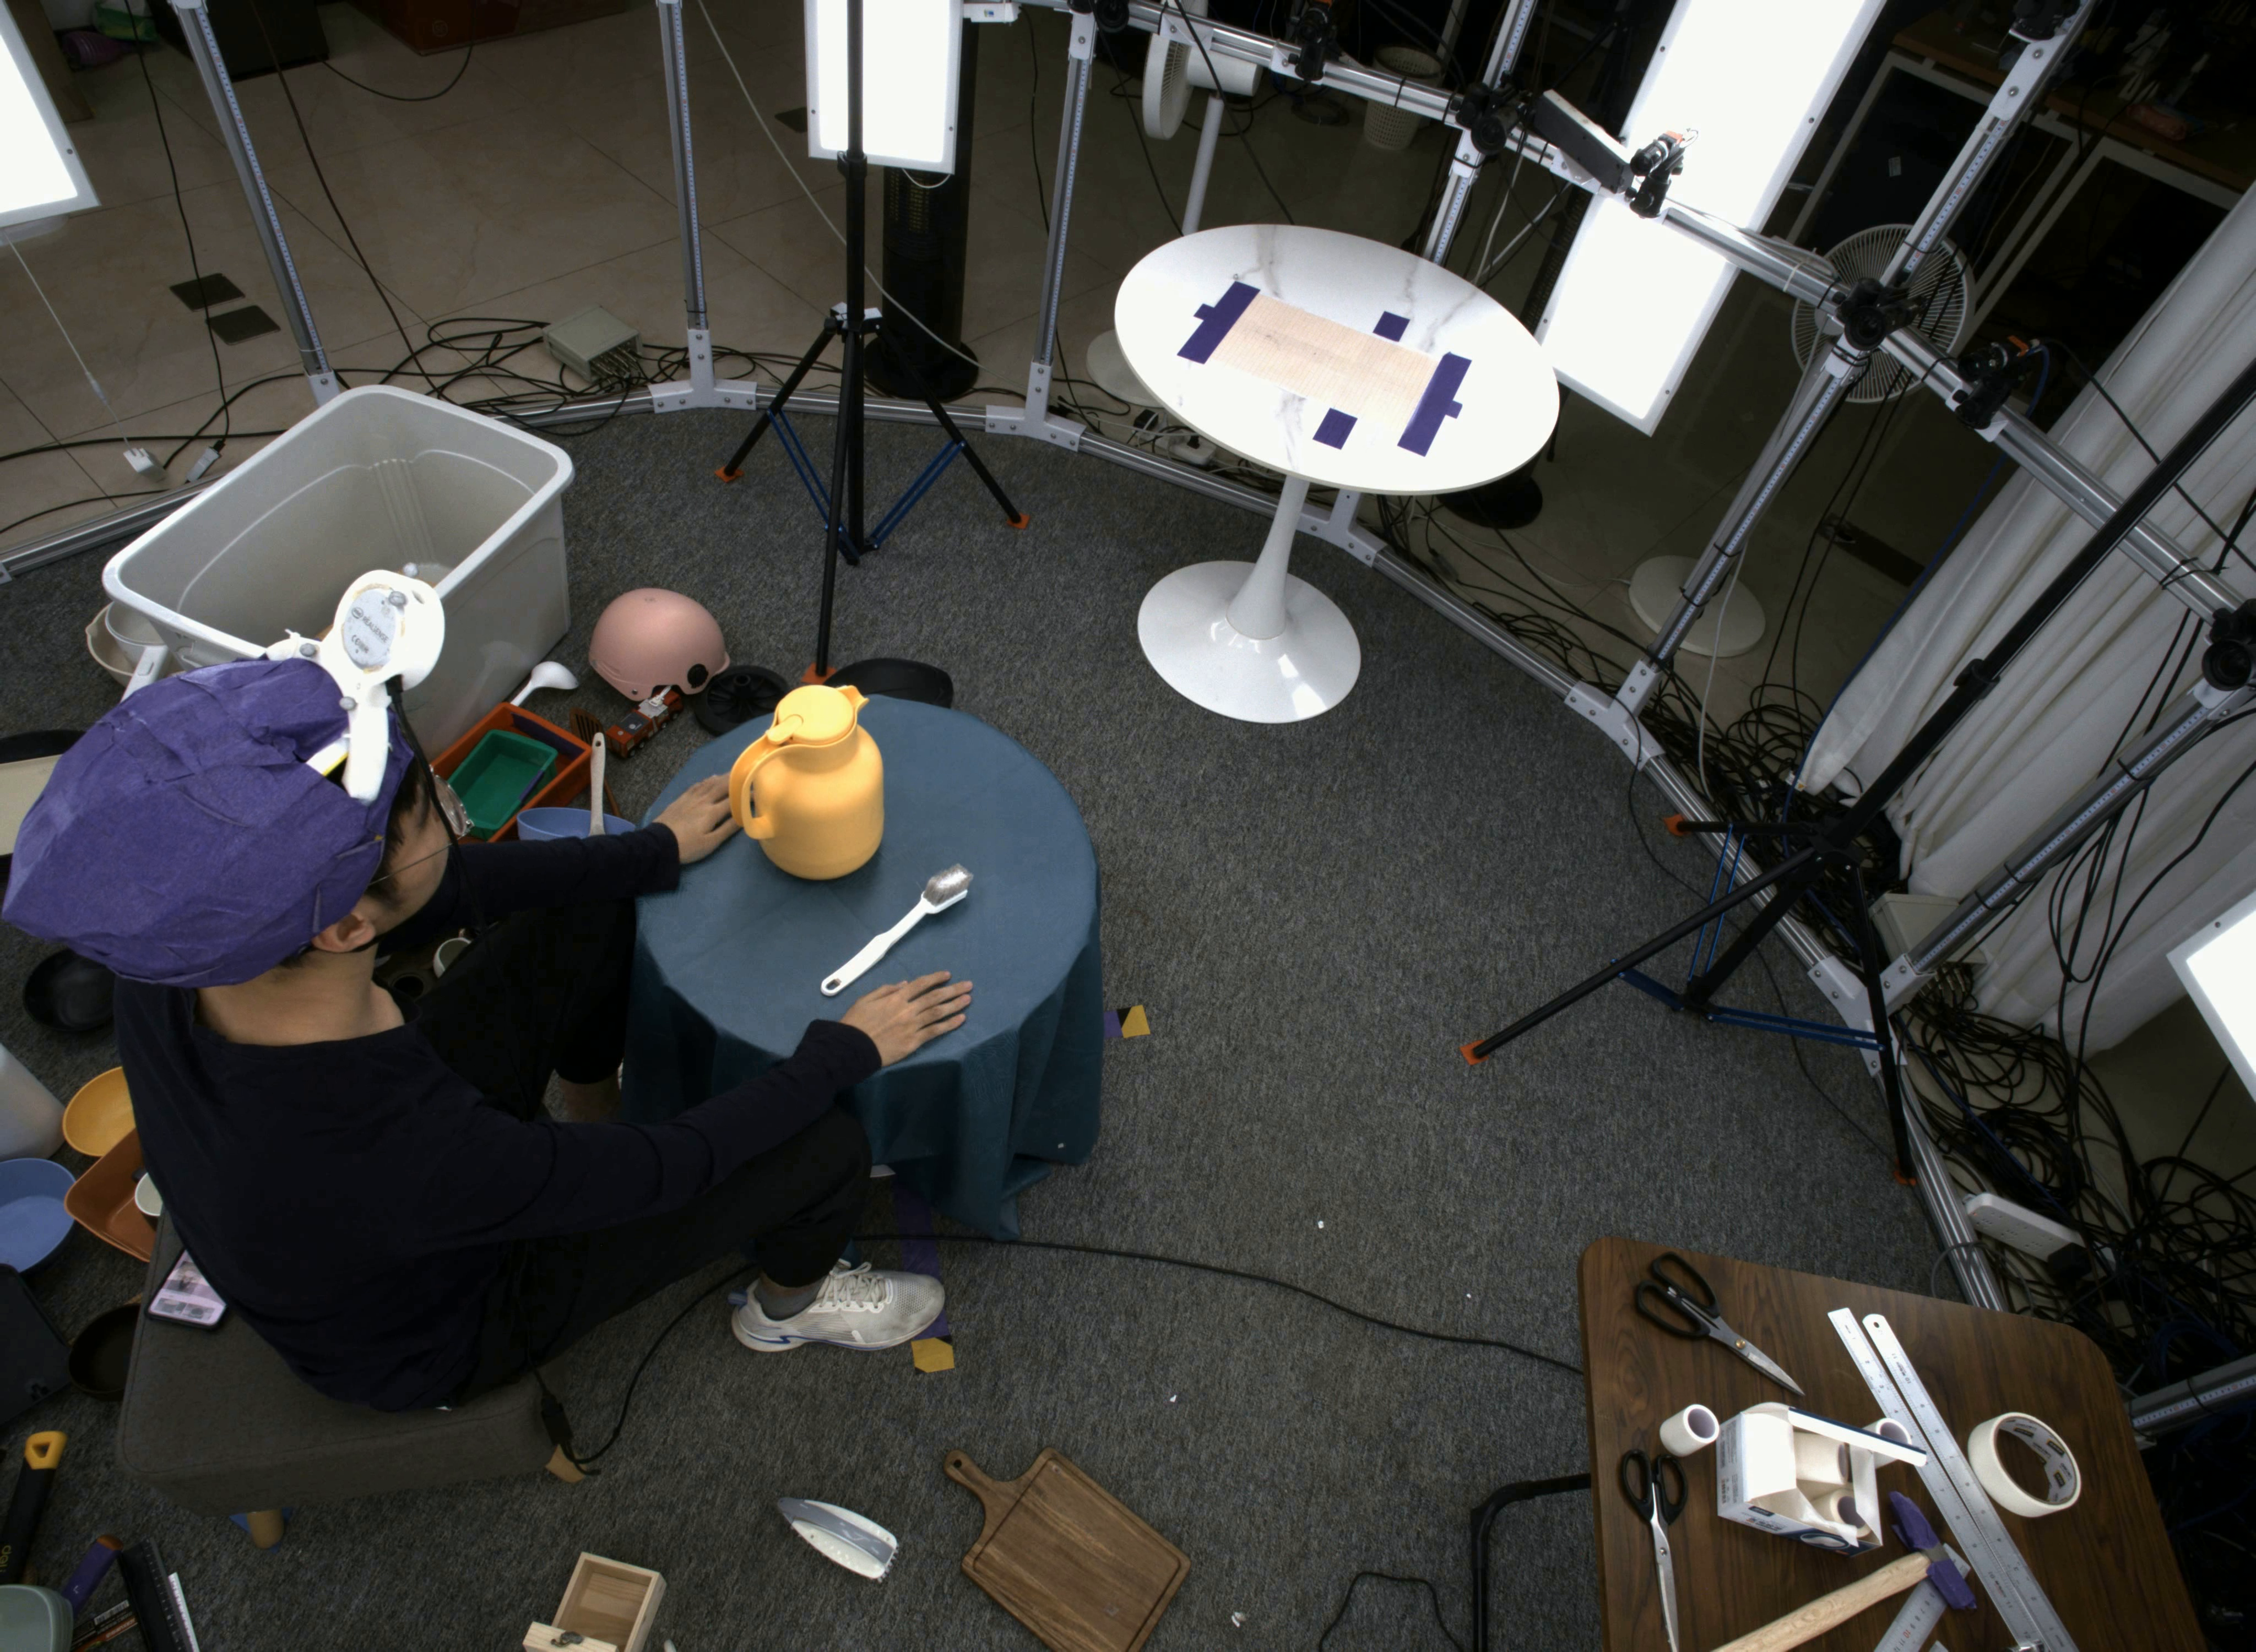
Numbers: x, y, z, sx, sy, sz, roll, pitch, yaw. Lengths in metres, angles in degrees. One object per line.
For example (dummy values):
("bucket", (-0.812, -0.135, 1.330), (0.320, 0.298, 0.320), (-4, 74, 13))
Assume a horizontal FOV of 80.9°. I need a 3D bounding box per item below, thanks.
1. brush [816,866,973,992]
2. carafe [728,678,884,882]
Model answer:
("brush", (-0.292, 0.124, 1.635), (0.034, 0.051, 0.244), (43, 55, 16))
("carafe", (-0.400, -0.054, 1.603), (0.159, 0.267, 0.203), (40, 54, 22))
